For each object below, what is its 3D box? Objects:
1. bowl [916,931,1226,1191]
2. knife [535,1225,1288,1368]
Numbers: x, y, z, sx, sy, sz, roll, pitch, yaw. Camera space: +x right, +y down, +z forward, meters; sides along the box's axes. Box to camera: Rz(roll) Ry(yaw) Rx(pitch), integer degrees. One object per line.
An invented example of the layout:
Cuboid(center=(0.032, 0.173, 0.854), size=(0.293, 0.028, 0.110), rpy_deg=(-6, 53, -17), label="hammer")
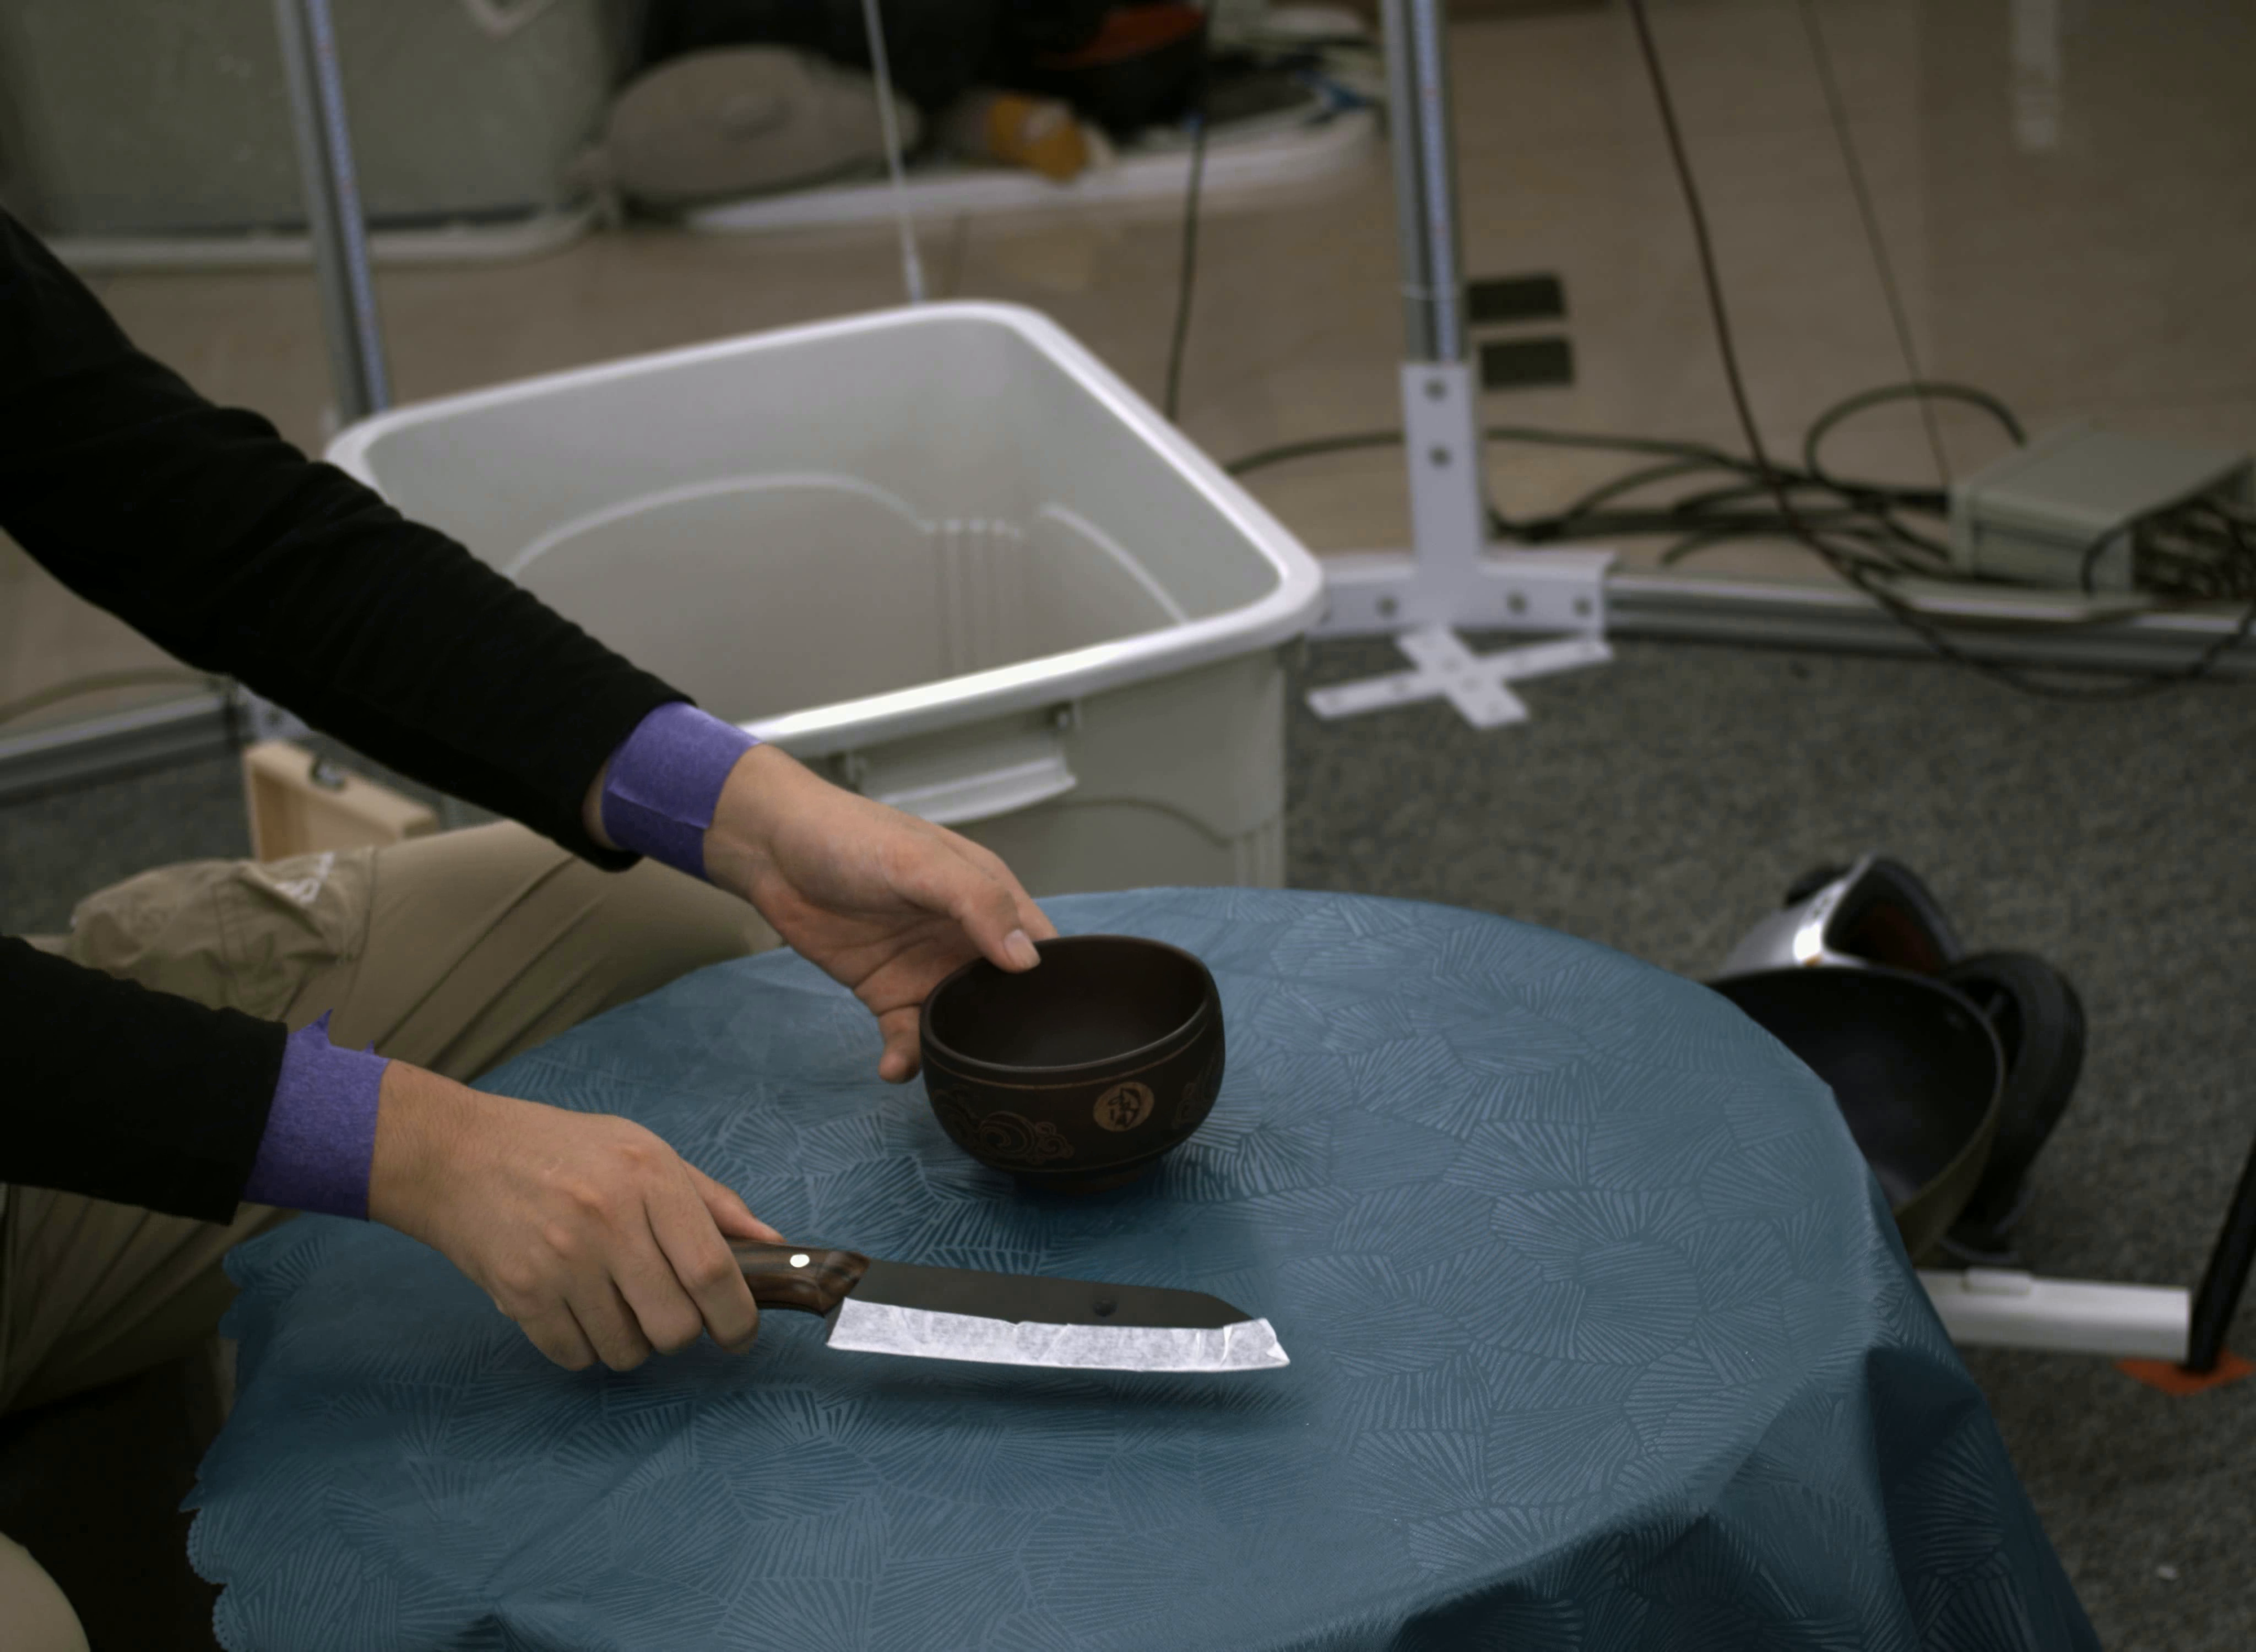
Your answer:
Cuboid(center=(-0.020, 0.096, 2.161), size=(0.118, 0.071, 0.116), rpy_deg=(-6, 25, 3), label="bowl")
Cuboid(center=(-0.081, 0.170, 2.028), size=(0.288, 0.020, 0.049), rpy_deg=(6, 45, 17), label="knife")
